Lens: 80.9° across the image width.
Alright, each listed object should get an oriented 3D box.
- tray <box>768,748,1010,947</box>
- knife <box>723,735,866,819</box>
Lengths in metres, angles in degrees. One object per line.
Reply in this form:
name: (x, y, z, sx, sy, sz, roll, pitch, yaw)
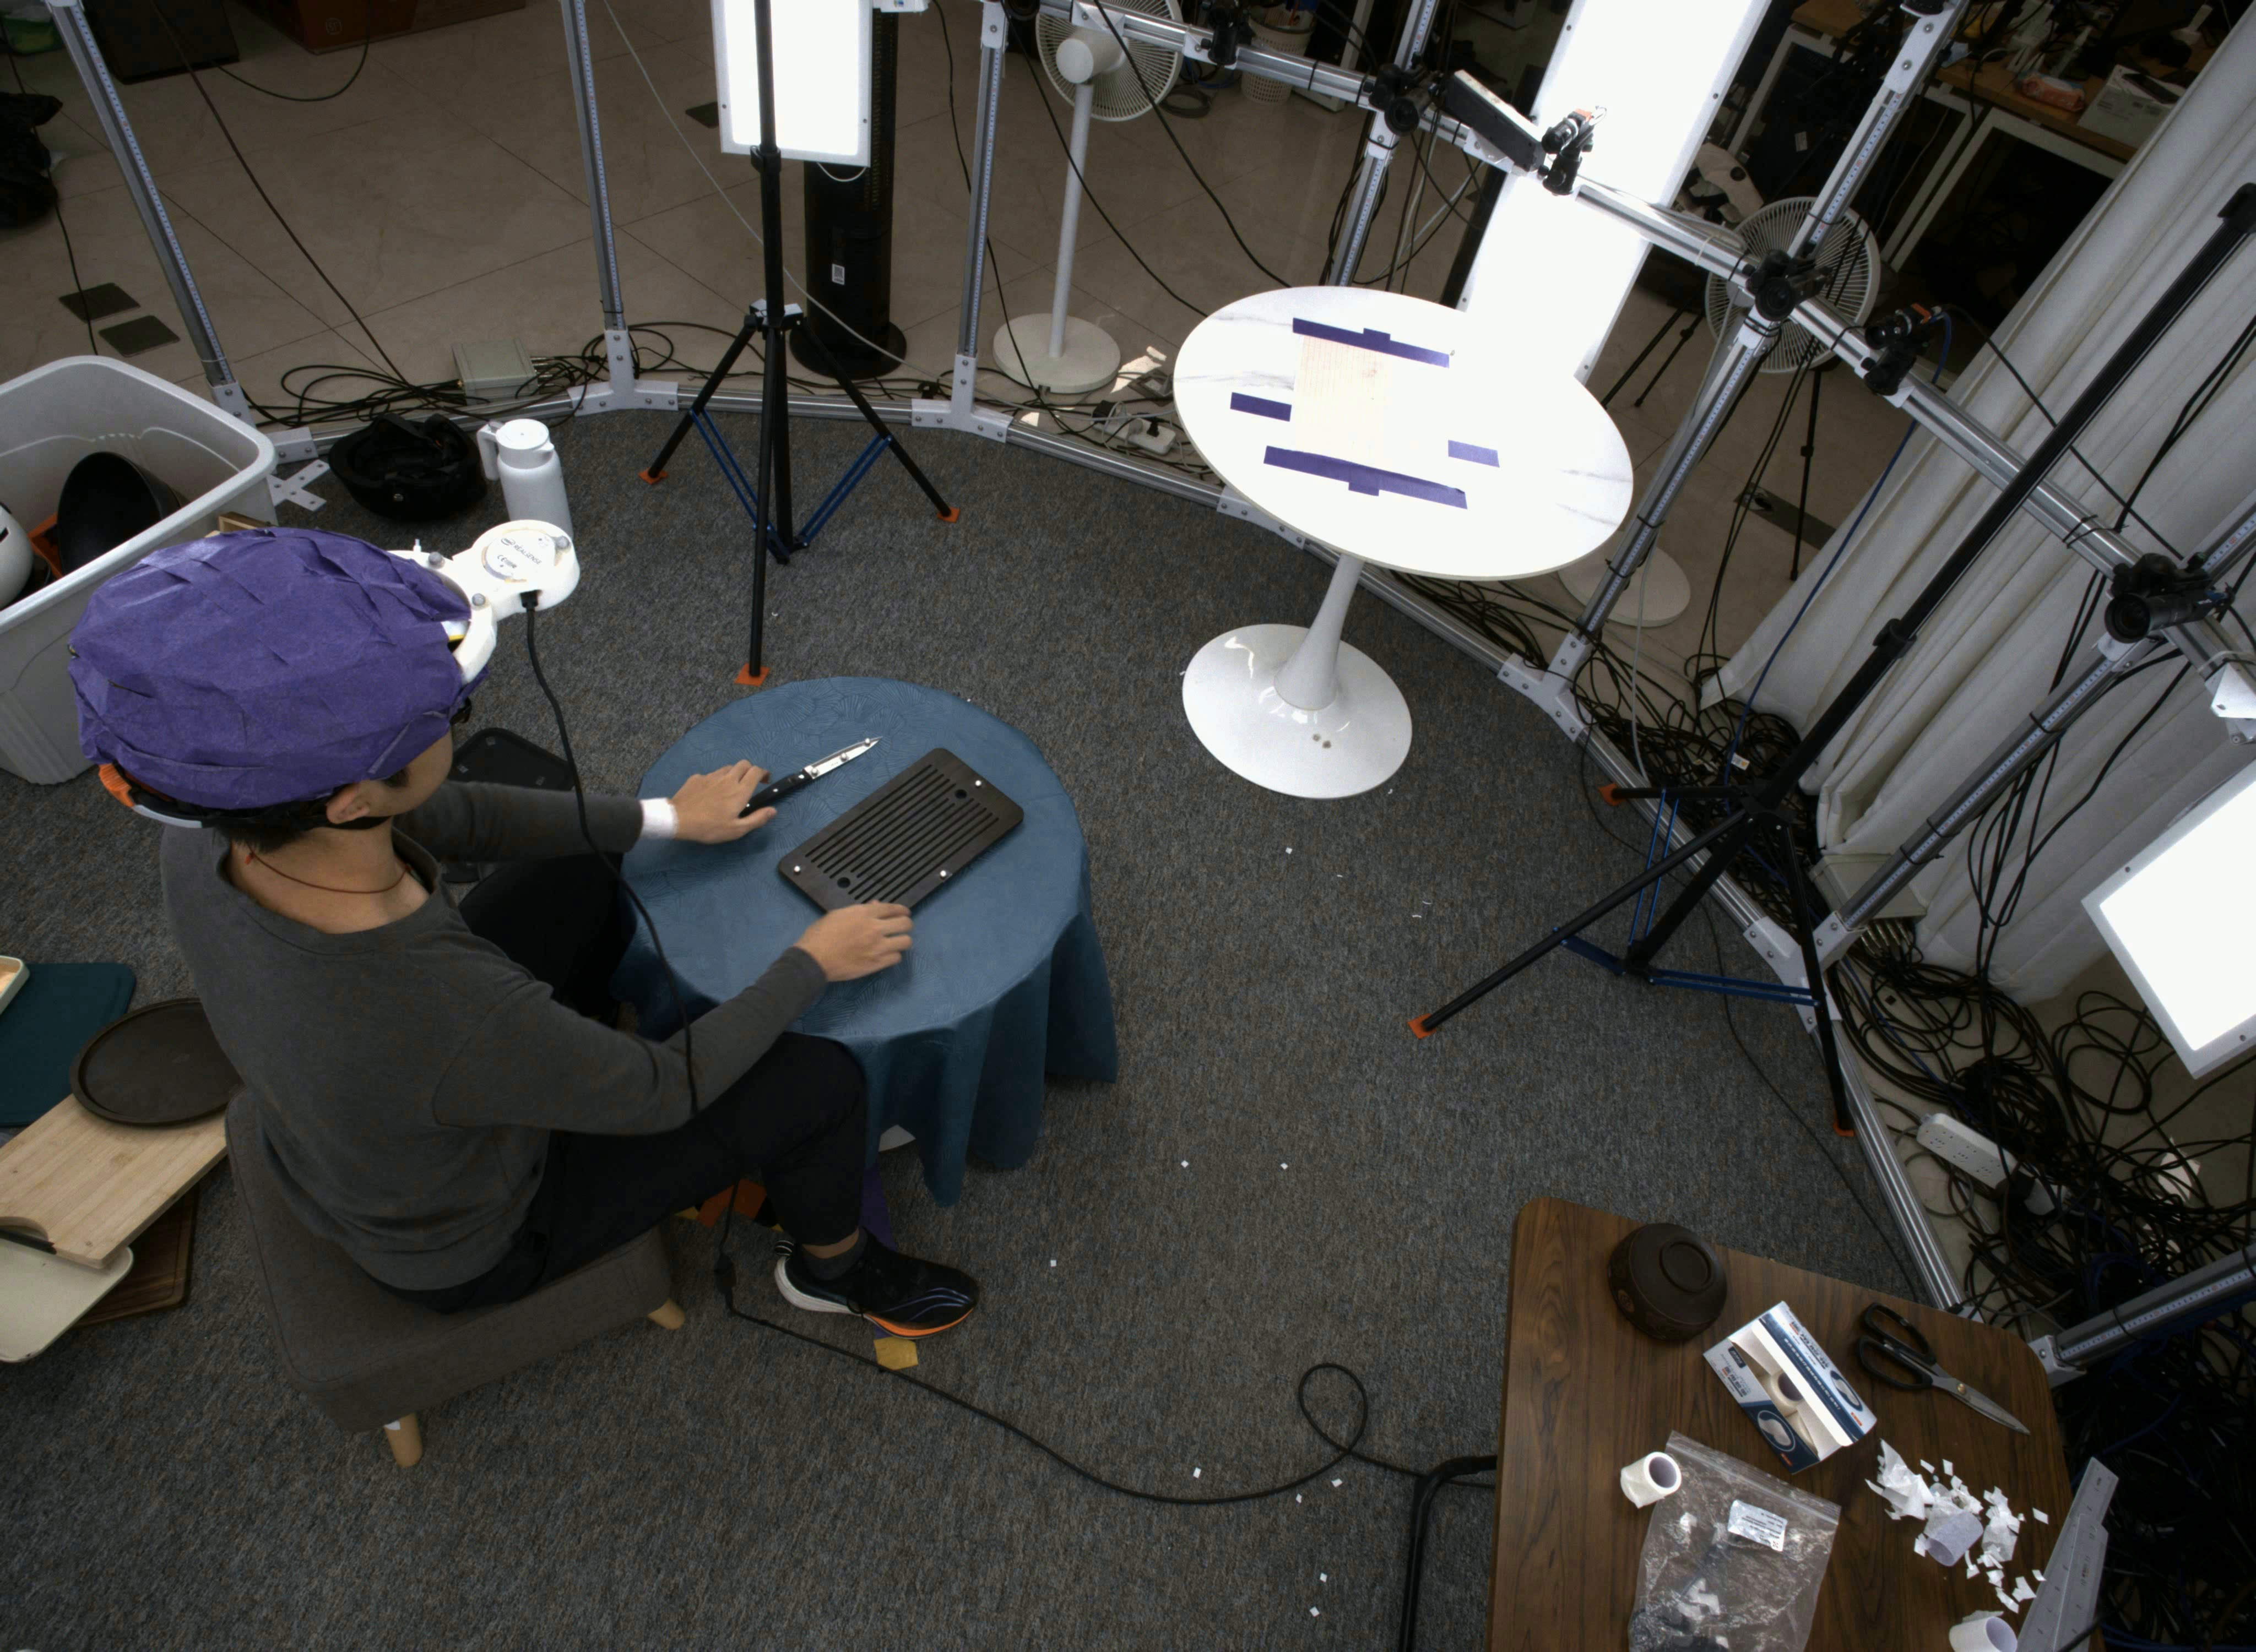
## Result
tray: (-0.314, 0.023, 1.735, 0.166, 0.019, 0.306, 37, 54, 14)
knife: (-0.451, -0.071, 1.774, 0.024, 0.016, 0.239, 42, 53, 17)
